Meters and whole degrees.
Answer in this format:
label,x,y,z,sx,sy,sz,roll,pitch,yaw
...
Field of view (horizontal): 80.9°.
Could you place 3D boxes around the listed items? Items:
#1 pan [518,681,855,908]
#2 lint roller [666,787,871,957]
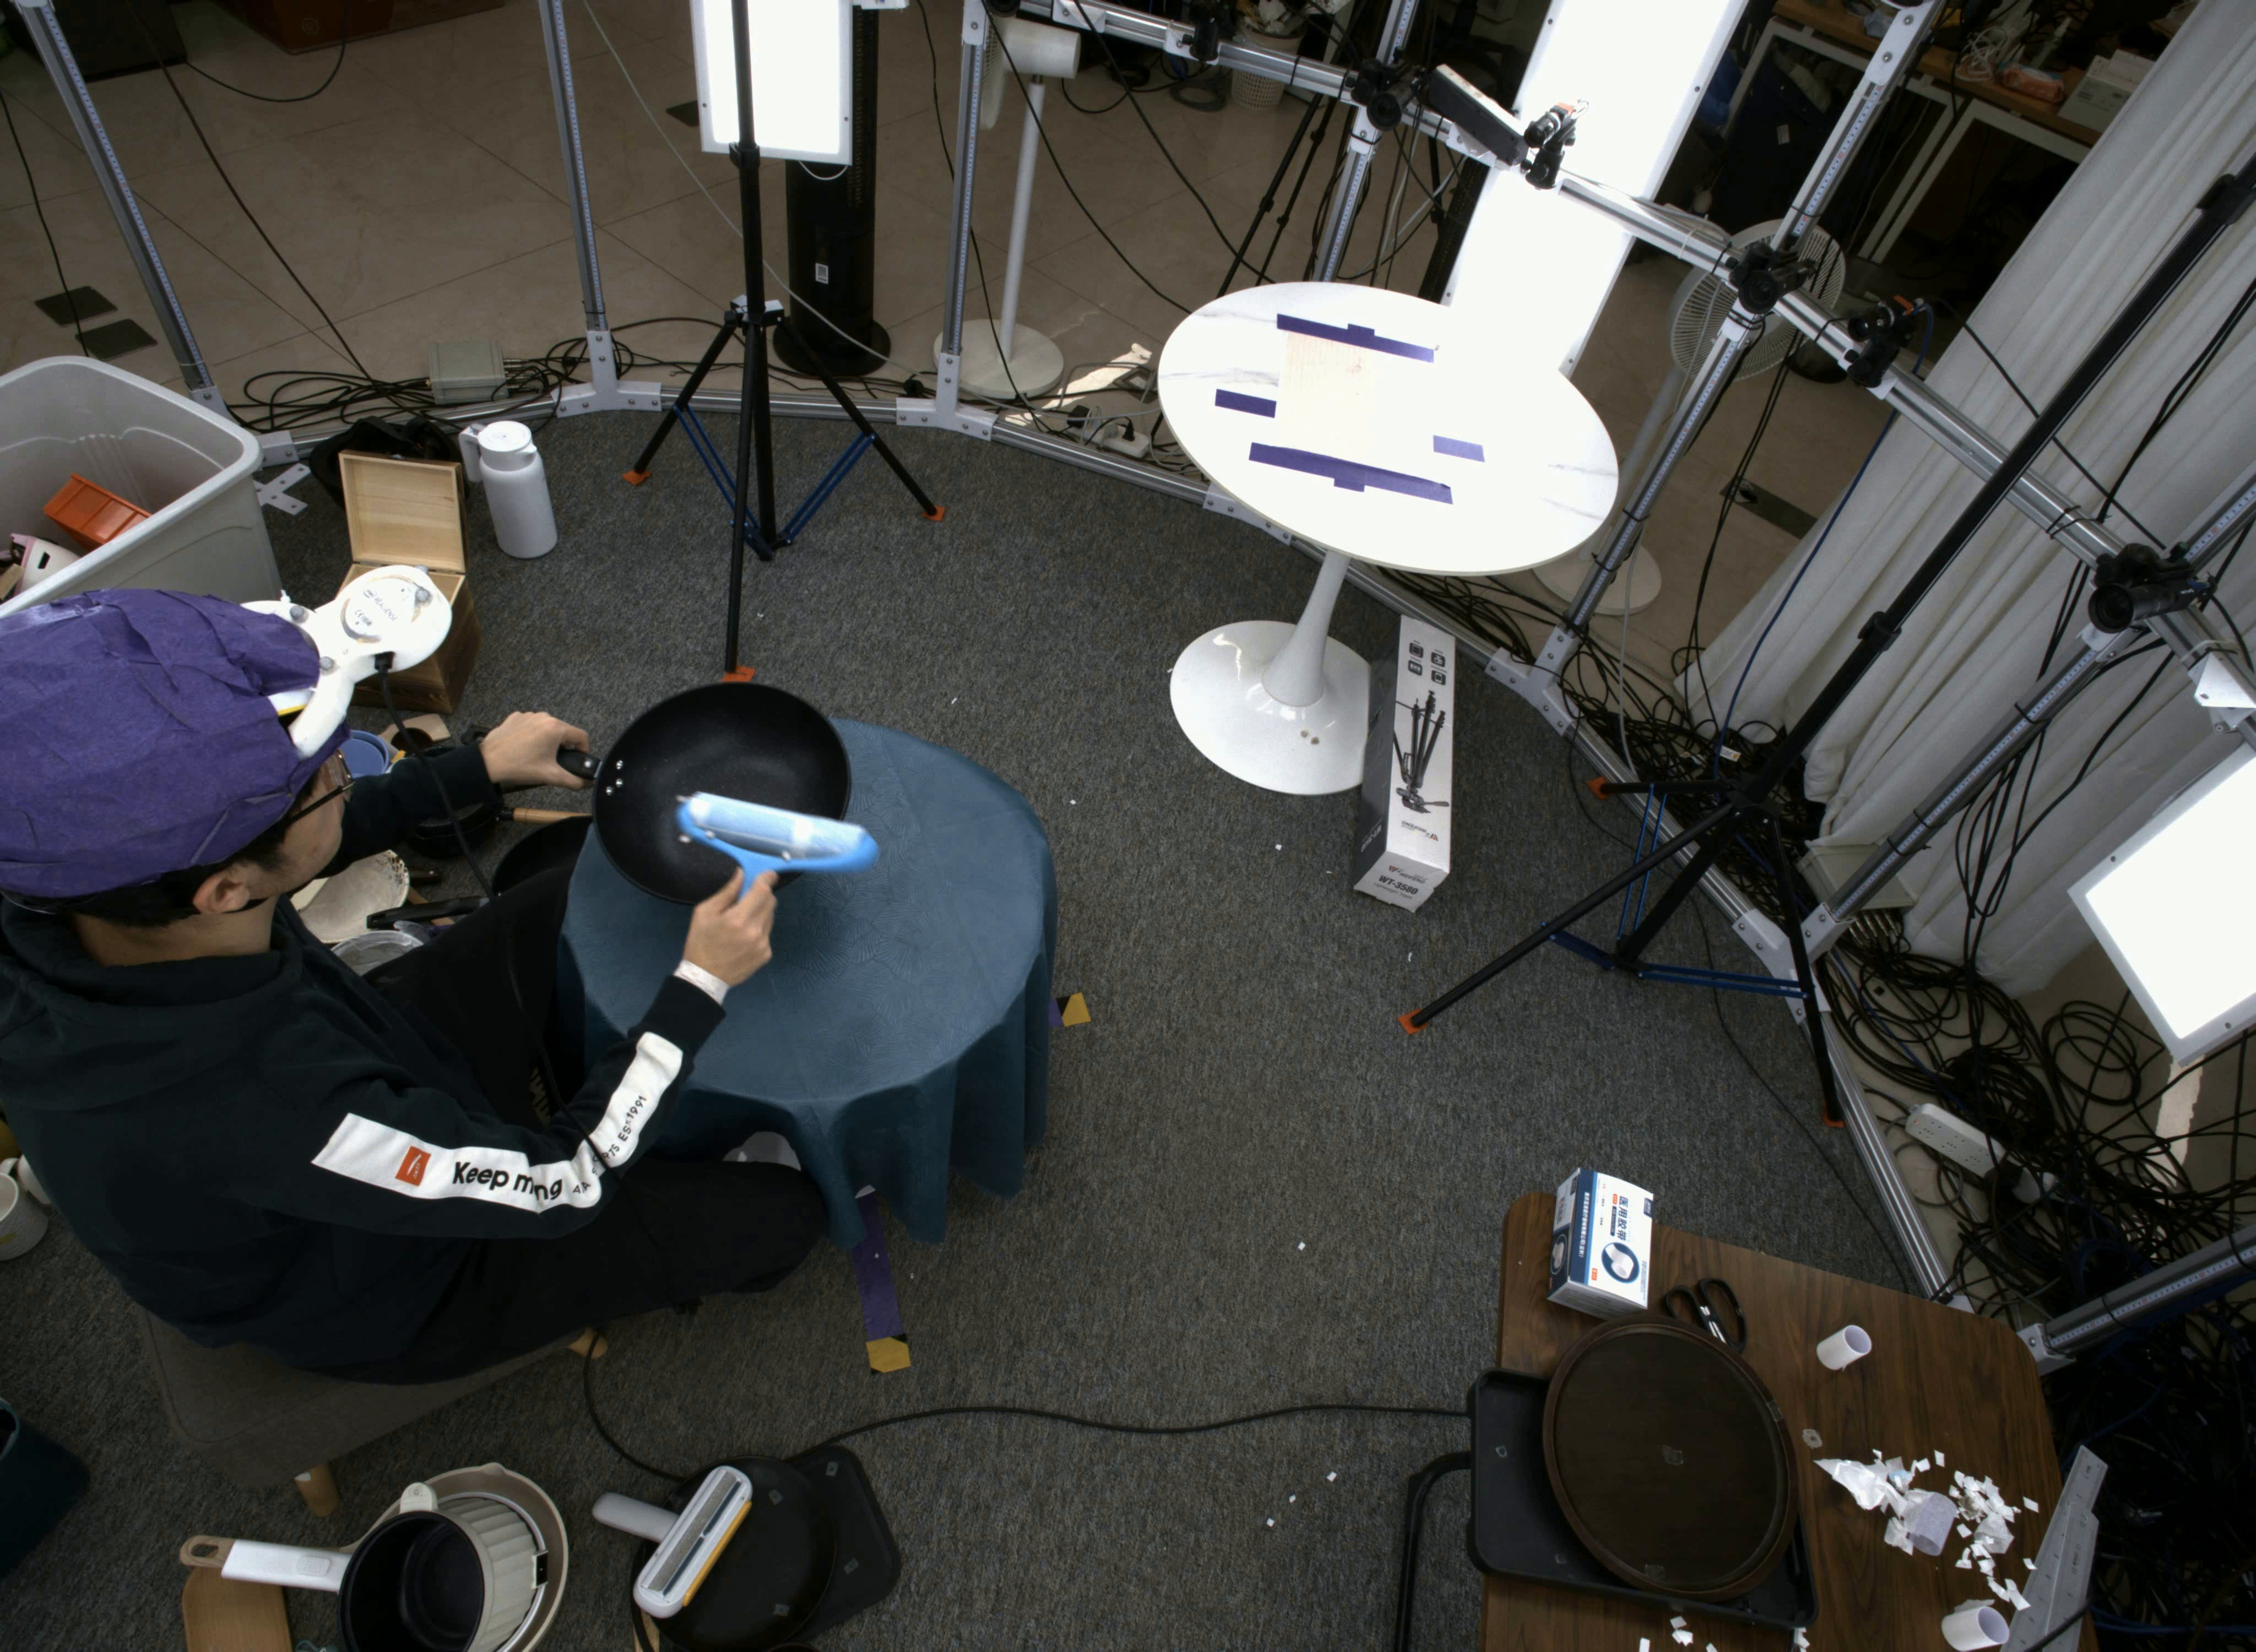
label,x,y,z,sx,sy,sz,roll,pitch,yaw
pan,-0.564,-0.046,1.569,0.472,0.114,0.307,10,61,0
lint roller,-0.406,0.047,1.421,0.228,0.069,0.178,8,61,-7
